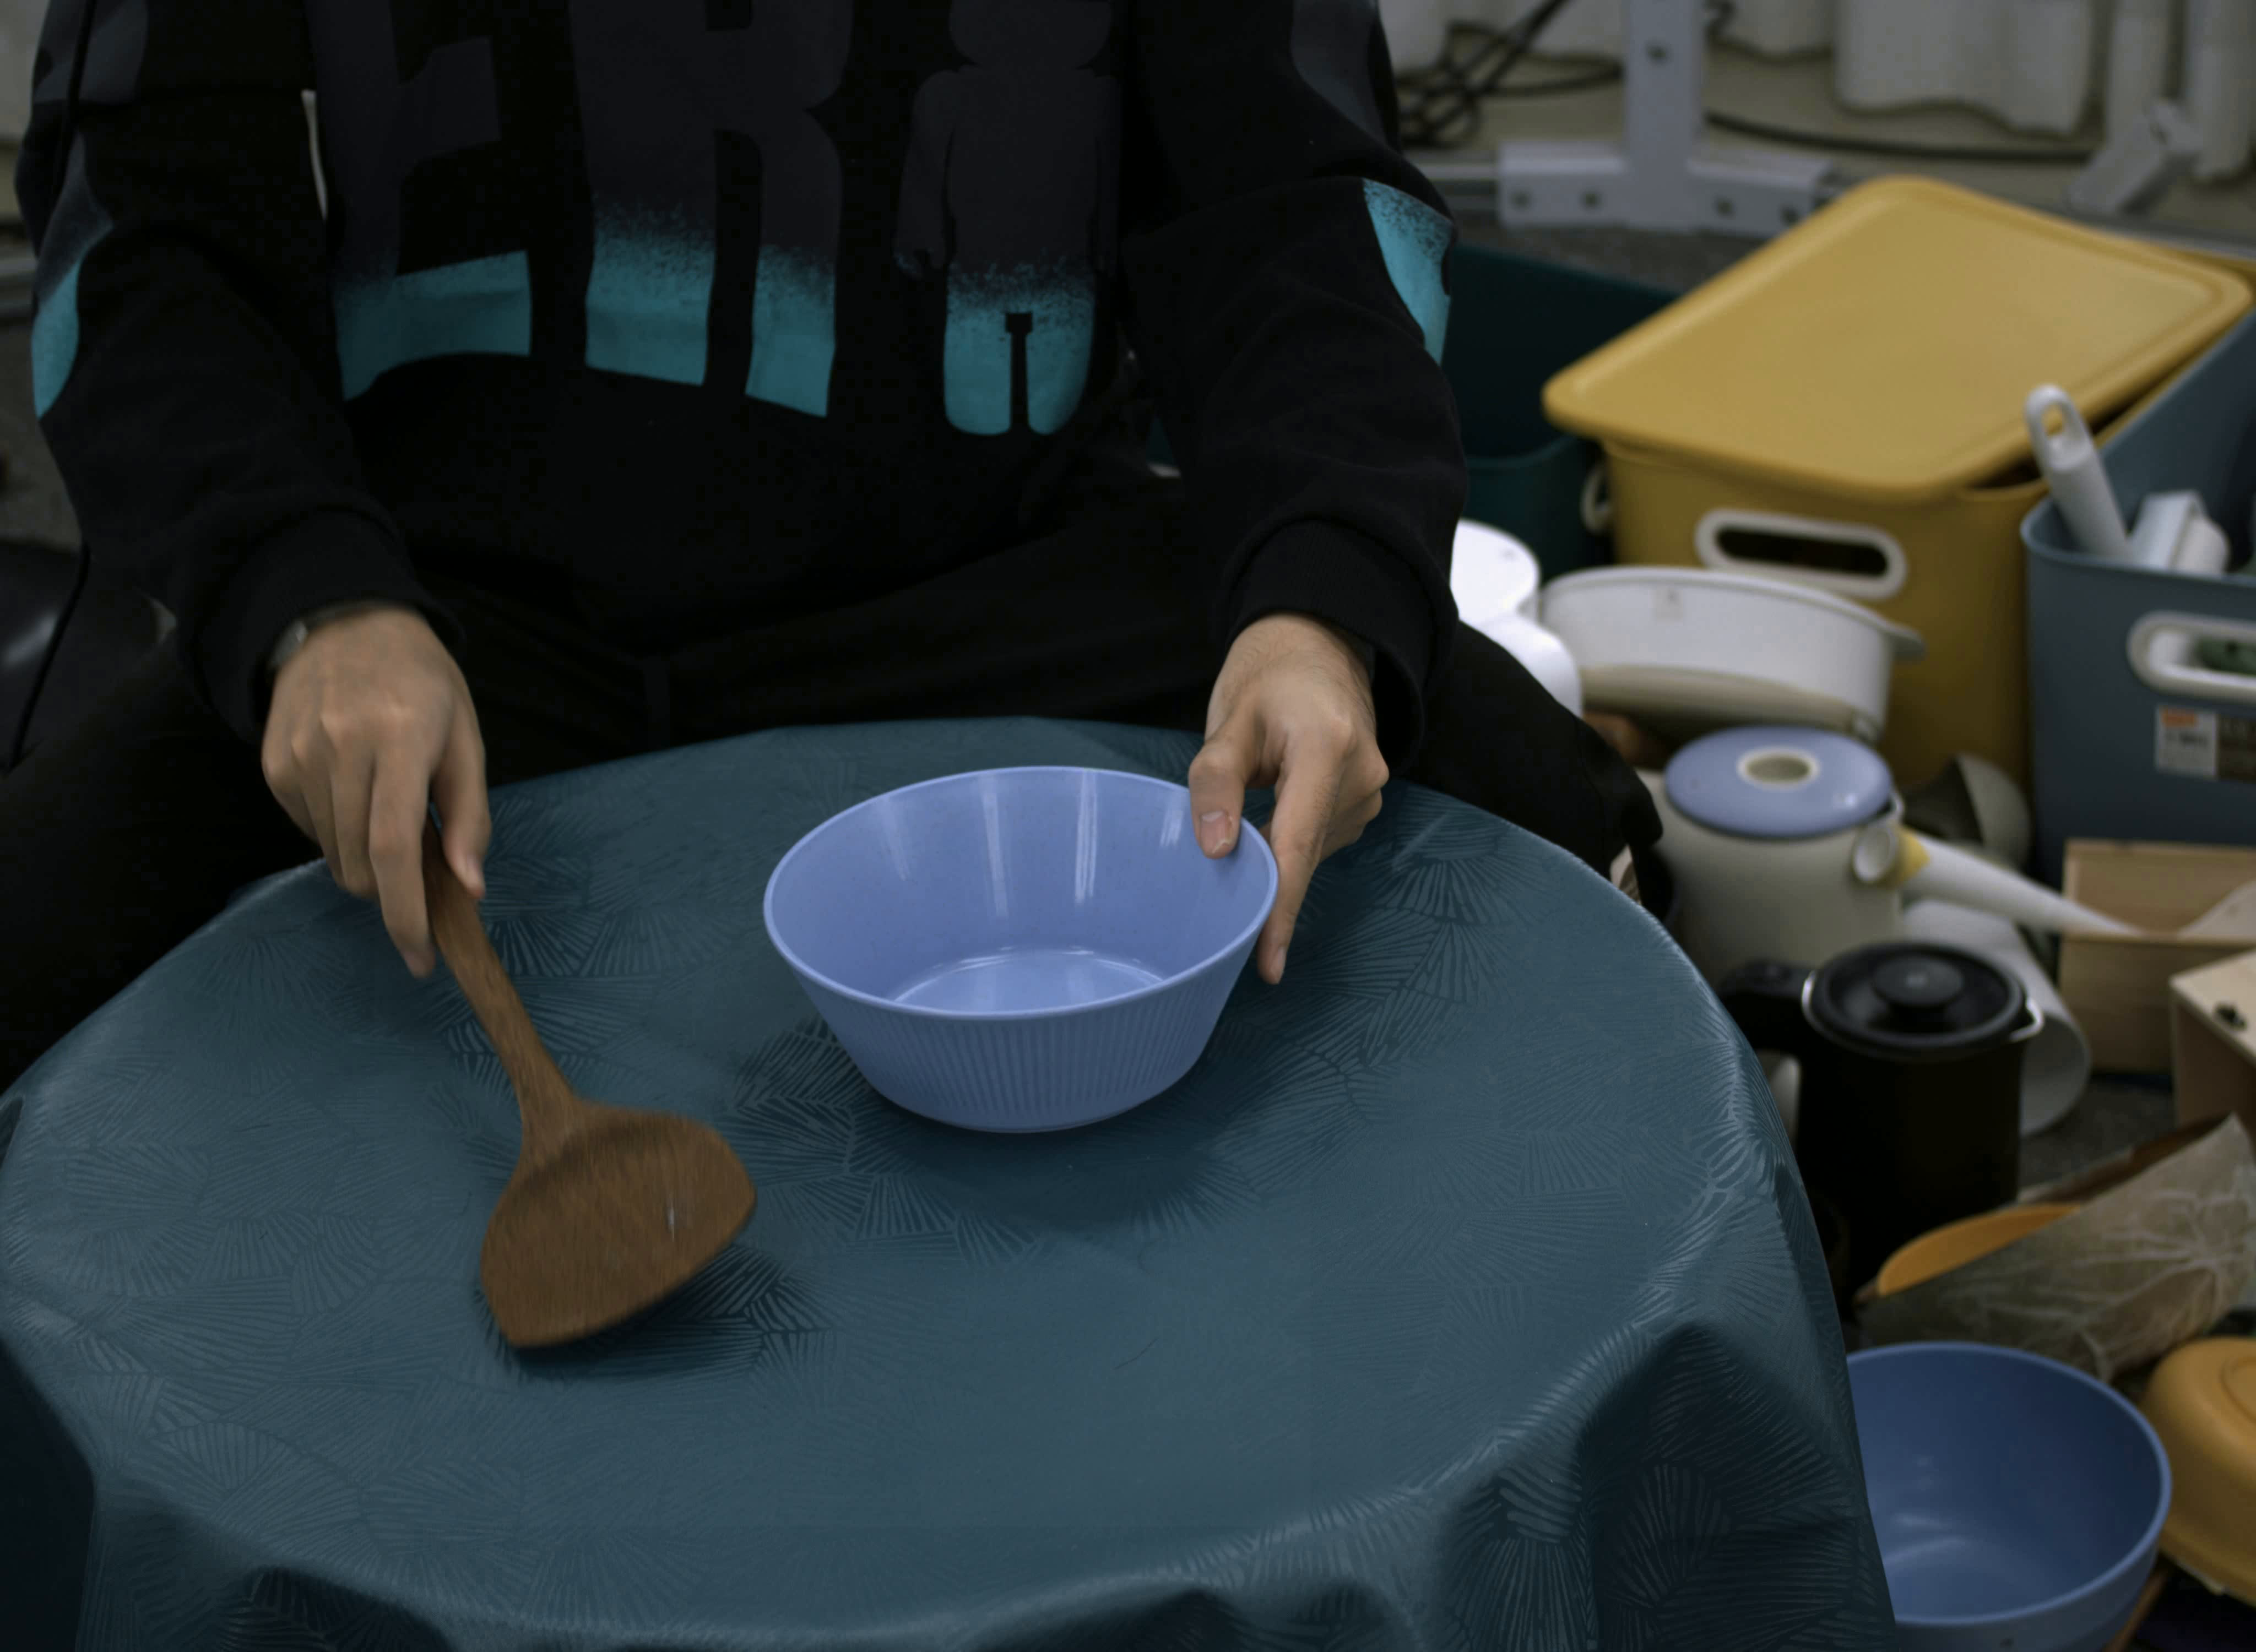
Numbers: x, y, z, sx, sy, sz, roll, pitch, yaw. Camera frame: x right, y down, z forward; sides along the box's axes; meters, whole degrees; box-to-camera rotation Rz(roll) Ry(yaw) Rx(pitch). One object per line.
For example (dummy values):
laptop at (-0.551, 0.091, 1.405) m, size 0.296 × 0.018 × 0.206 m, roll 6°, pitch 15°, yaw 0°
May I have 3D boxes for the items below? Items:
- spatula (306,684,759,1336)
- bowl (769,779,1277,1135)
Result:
spatula at (-0.222, 0.049, 1.925) m, size 0.096 × 0.015 × 0.390 m, roll -31°, pitch 39°, yaw -5°
bowl at (-0.034, 0.050, 1.928) m, size 0.175 × 0.069 × 0.178 m, roll -2°, pitch 26°, yaw 1°
